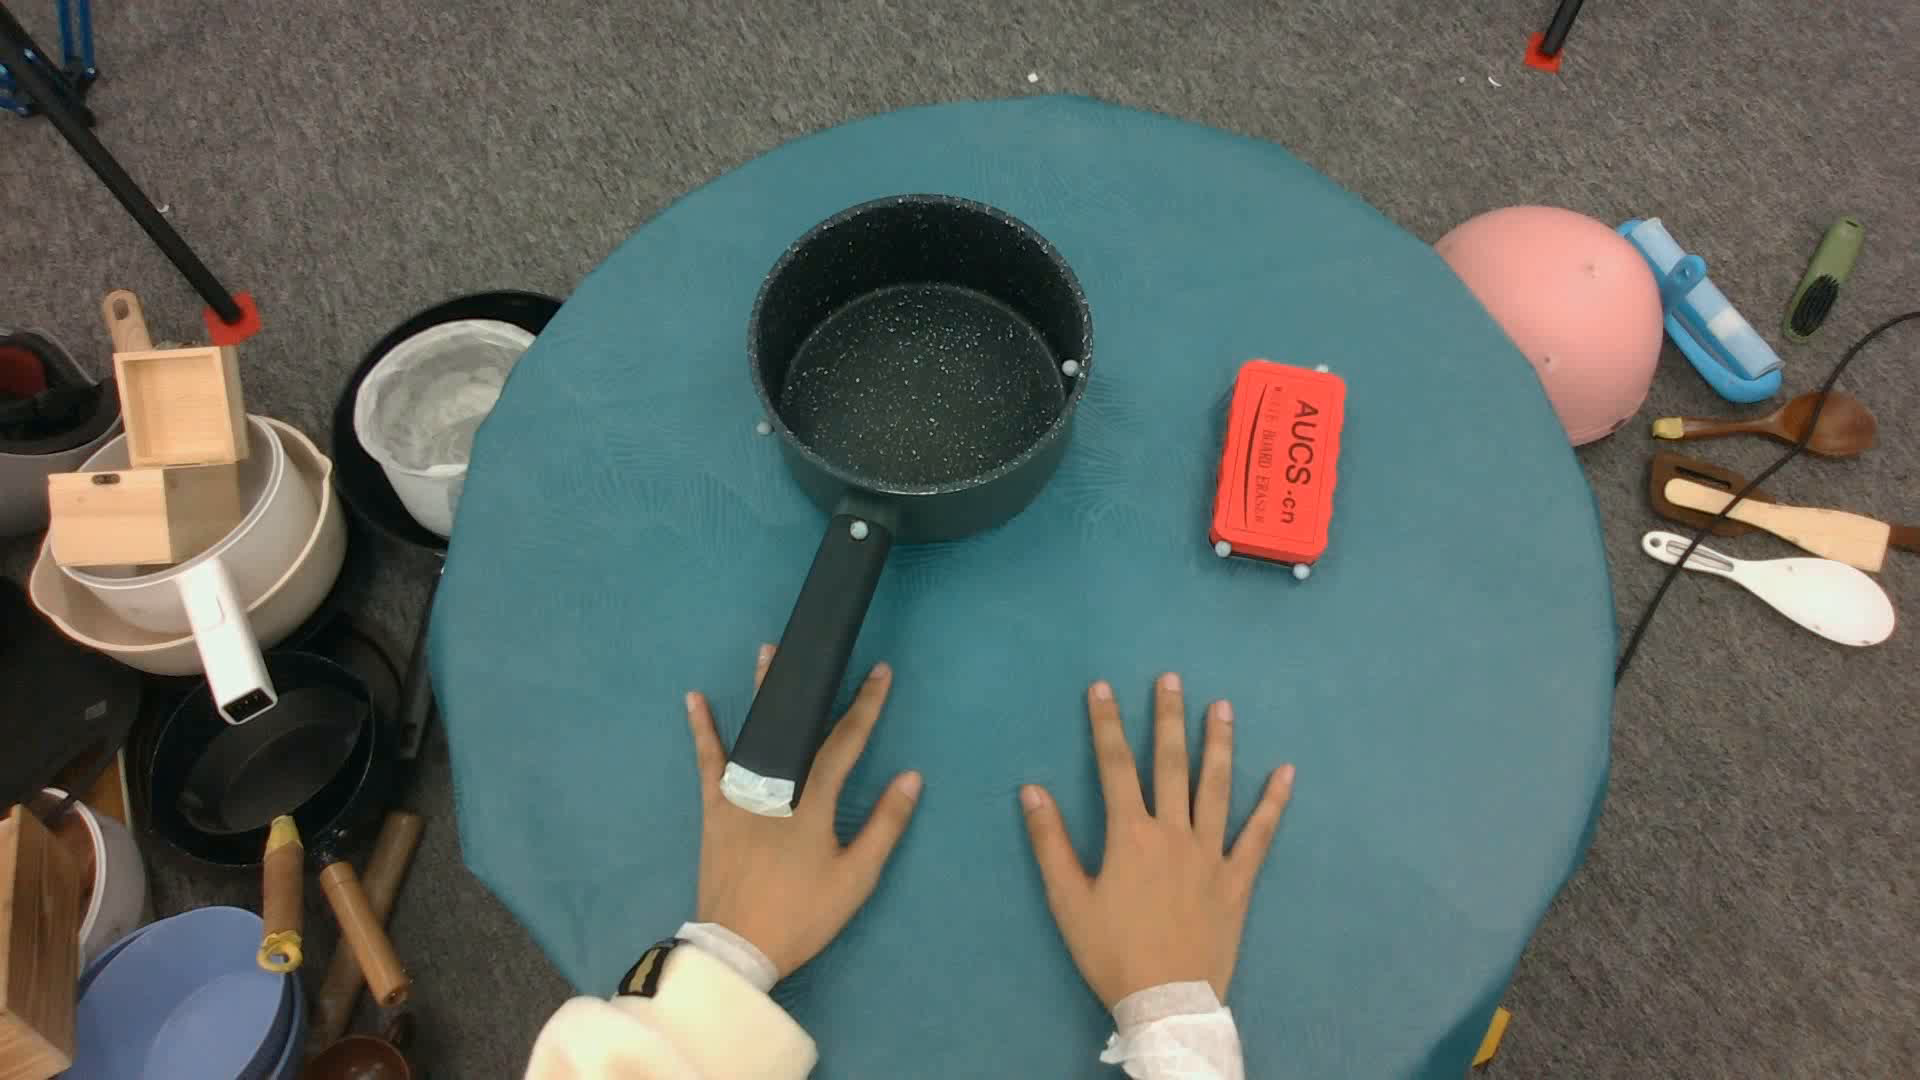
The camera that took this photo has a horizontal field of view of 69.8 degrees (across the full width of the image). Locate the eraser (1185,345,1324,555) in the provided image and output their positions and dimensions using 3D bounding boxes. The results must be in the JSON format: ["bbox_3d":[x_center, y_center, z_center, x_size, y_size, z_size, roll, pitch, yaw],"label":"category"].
[{"bbox_3d":[0.155,-0.048,0.723,0.059,0.023,0.108,12,67,4],"label":"eraser"}]

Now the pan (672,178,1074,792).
[{"bbox_3d":[-0.055,-0.026,0.676,0.172,0.086,0.330,17,66,7],"label":"pan"}]
